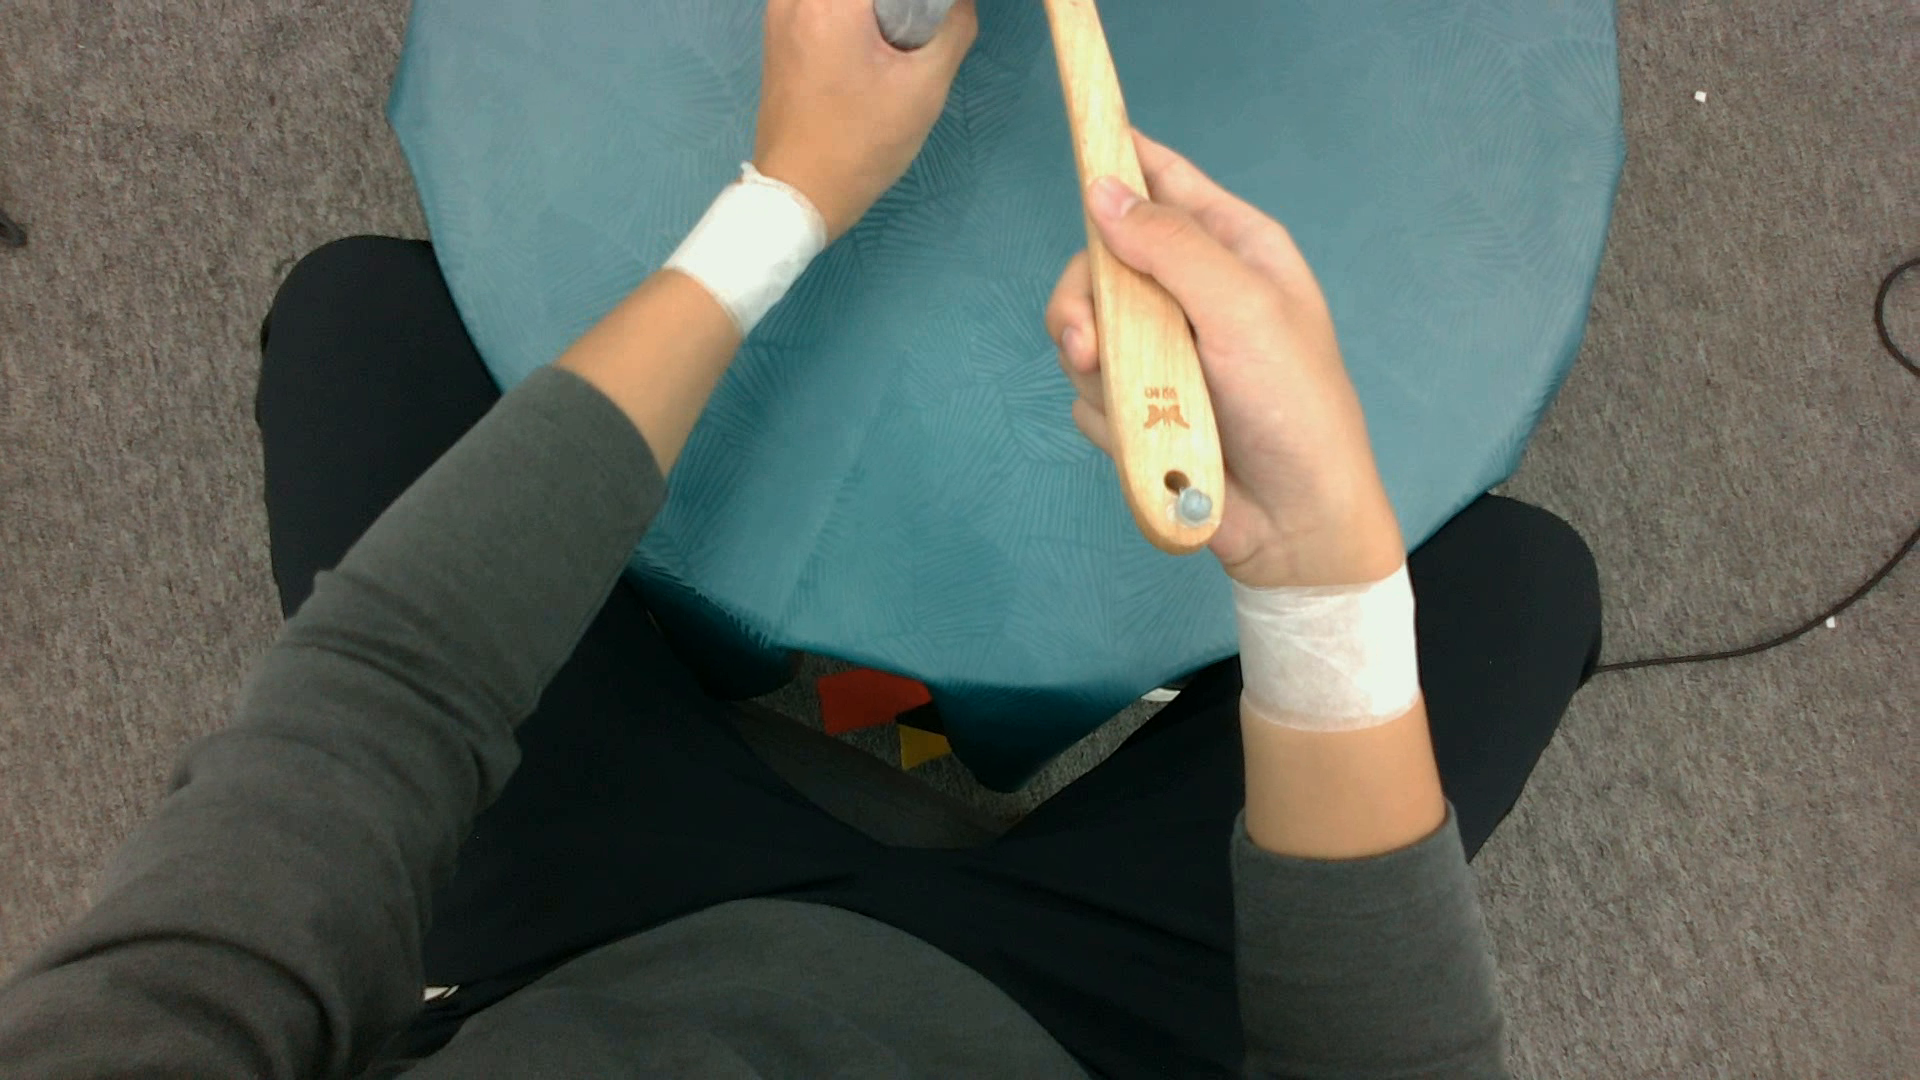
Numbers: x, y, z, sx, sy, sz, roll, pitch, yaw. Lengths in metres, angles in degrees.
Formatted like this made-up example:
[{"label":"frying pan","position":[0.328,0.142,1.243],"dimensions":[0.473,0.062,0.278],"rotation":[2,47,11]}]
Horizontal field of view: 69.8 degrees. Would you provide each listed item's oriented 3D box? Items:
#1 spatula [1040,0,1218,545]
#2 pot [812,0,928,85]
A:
[{"label":"spatula","position":[0.044,-0.167,0.477],"dimensions":[0.096,0.018,0.392],"rotation":[0,57,-12]},{"label":"pot","position":[0.003,-0.303,0.566],"dimensions":[0.179,0.137,0.233],"rotation":[20,100,-16]}]
